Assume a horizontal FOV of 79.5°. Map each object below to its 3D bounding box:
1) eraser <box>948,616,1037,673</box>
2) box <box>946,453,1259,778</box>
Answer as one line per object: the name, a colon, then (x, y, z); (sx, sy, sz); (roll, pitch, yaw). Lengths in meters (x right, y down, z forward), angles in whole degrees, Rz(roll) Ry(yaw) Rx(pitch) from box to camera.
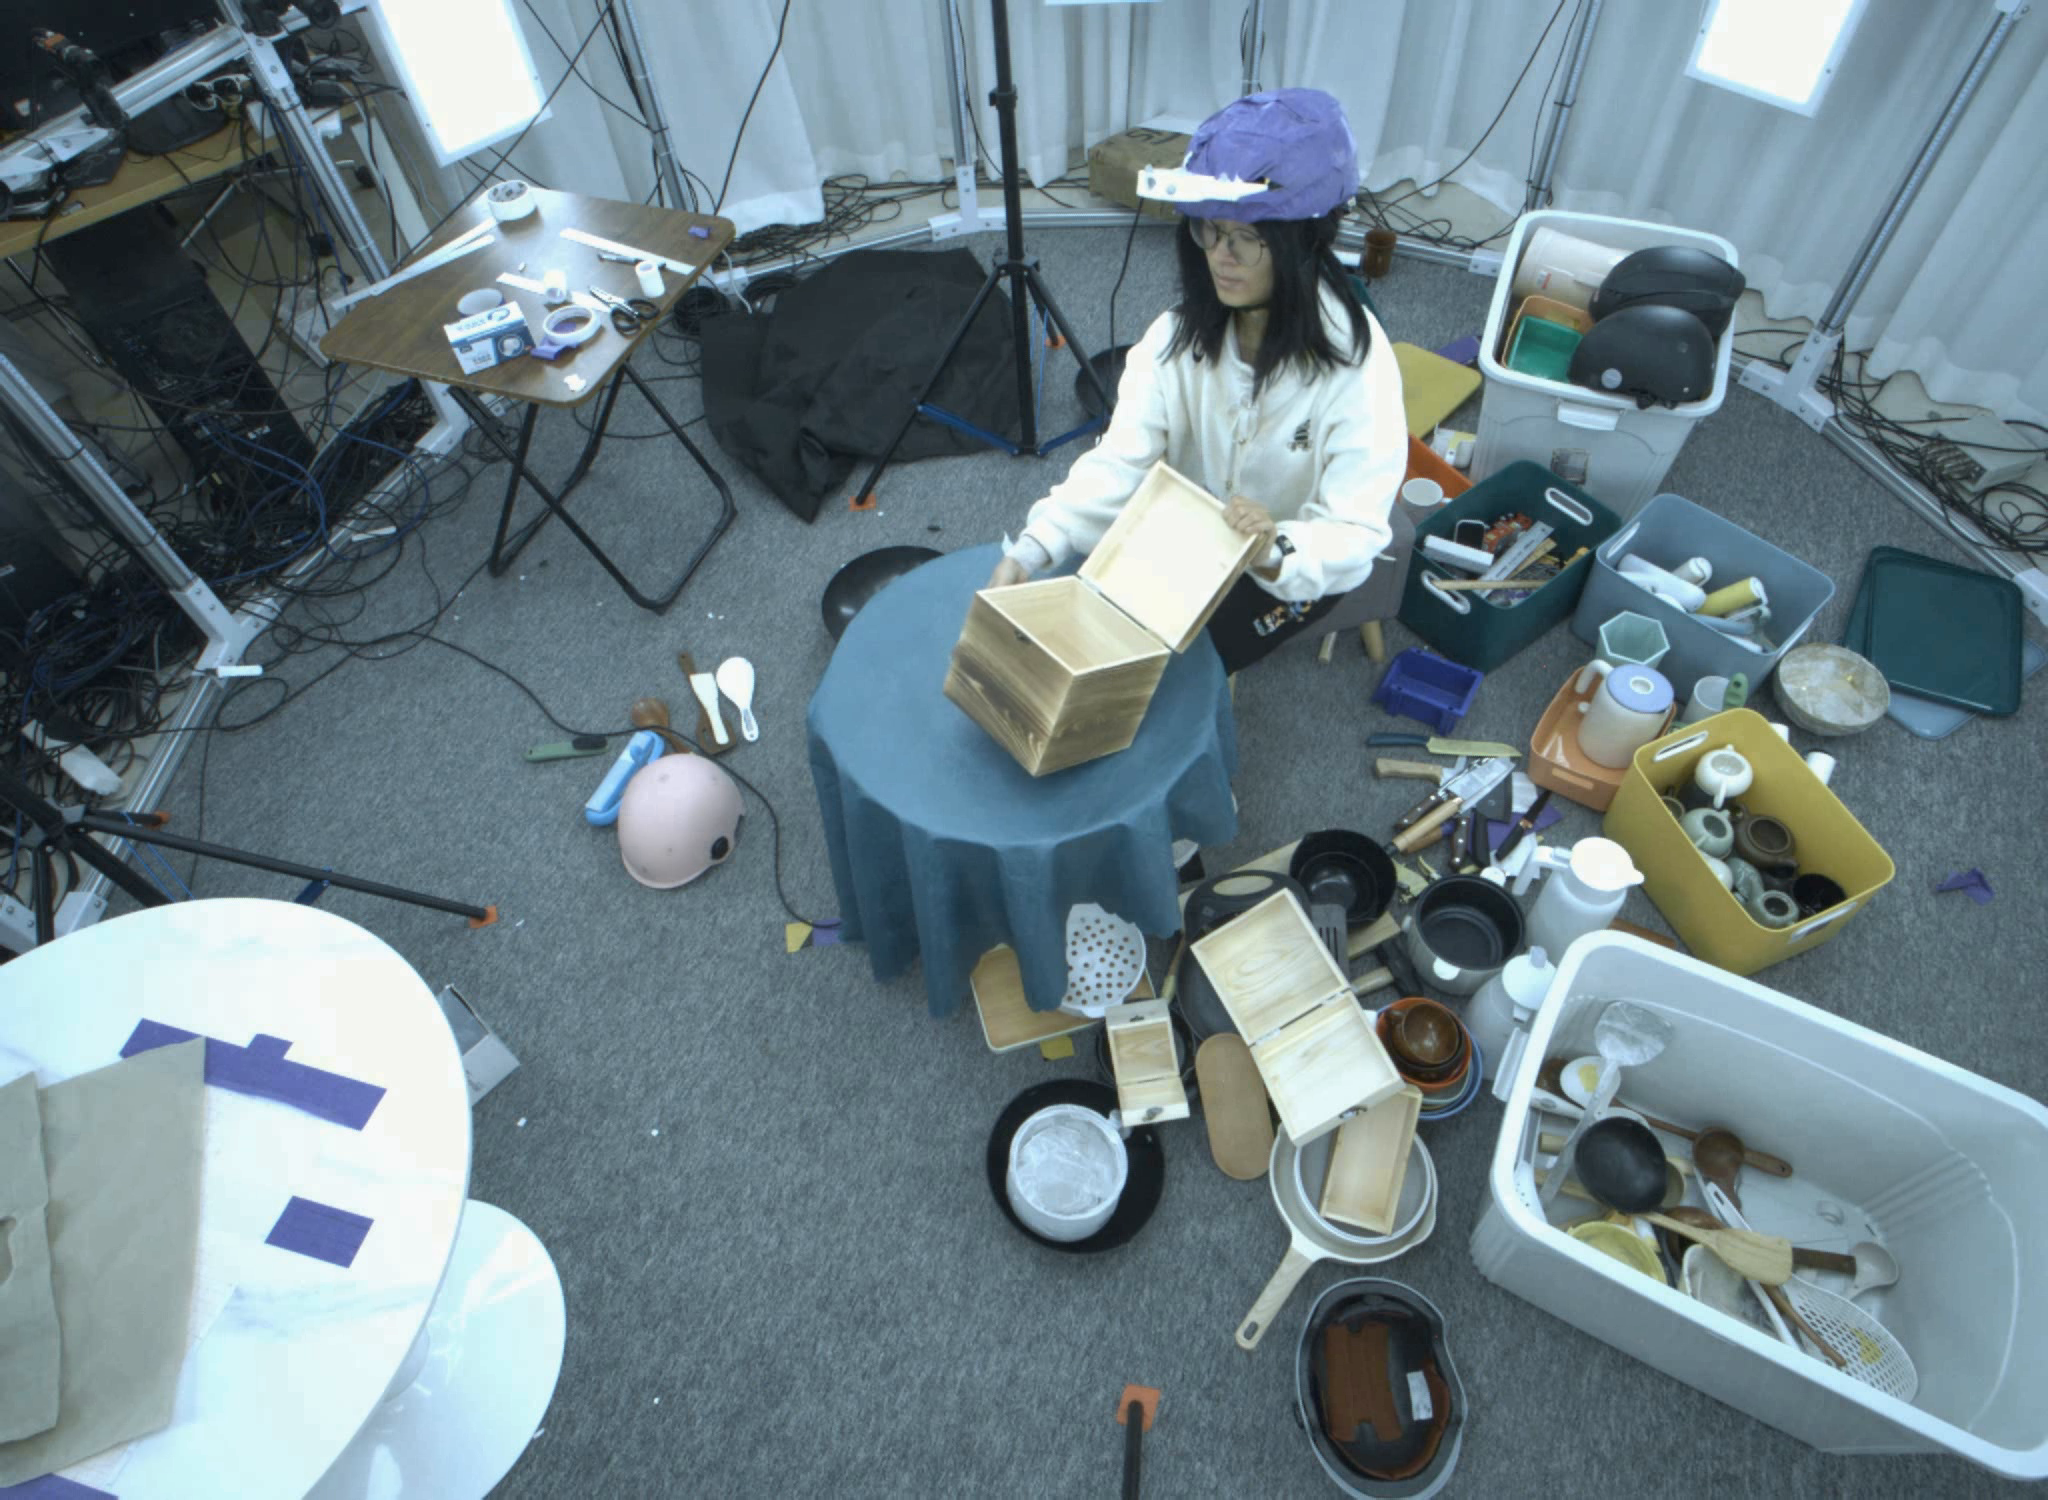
eraser: (-0.043, -0.156, 1.769); (0.140, 0.058, 0.028); (-40, 59, -13)
box: (0.106, -0.197, 1.696); (0.328, 0.376, 0.205); (-19, 49, -44)
